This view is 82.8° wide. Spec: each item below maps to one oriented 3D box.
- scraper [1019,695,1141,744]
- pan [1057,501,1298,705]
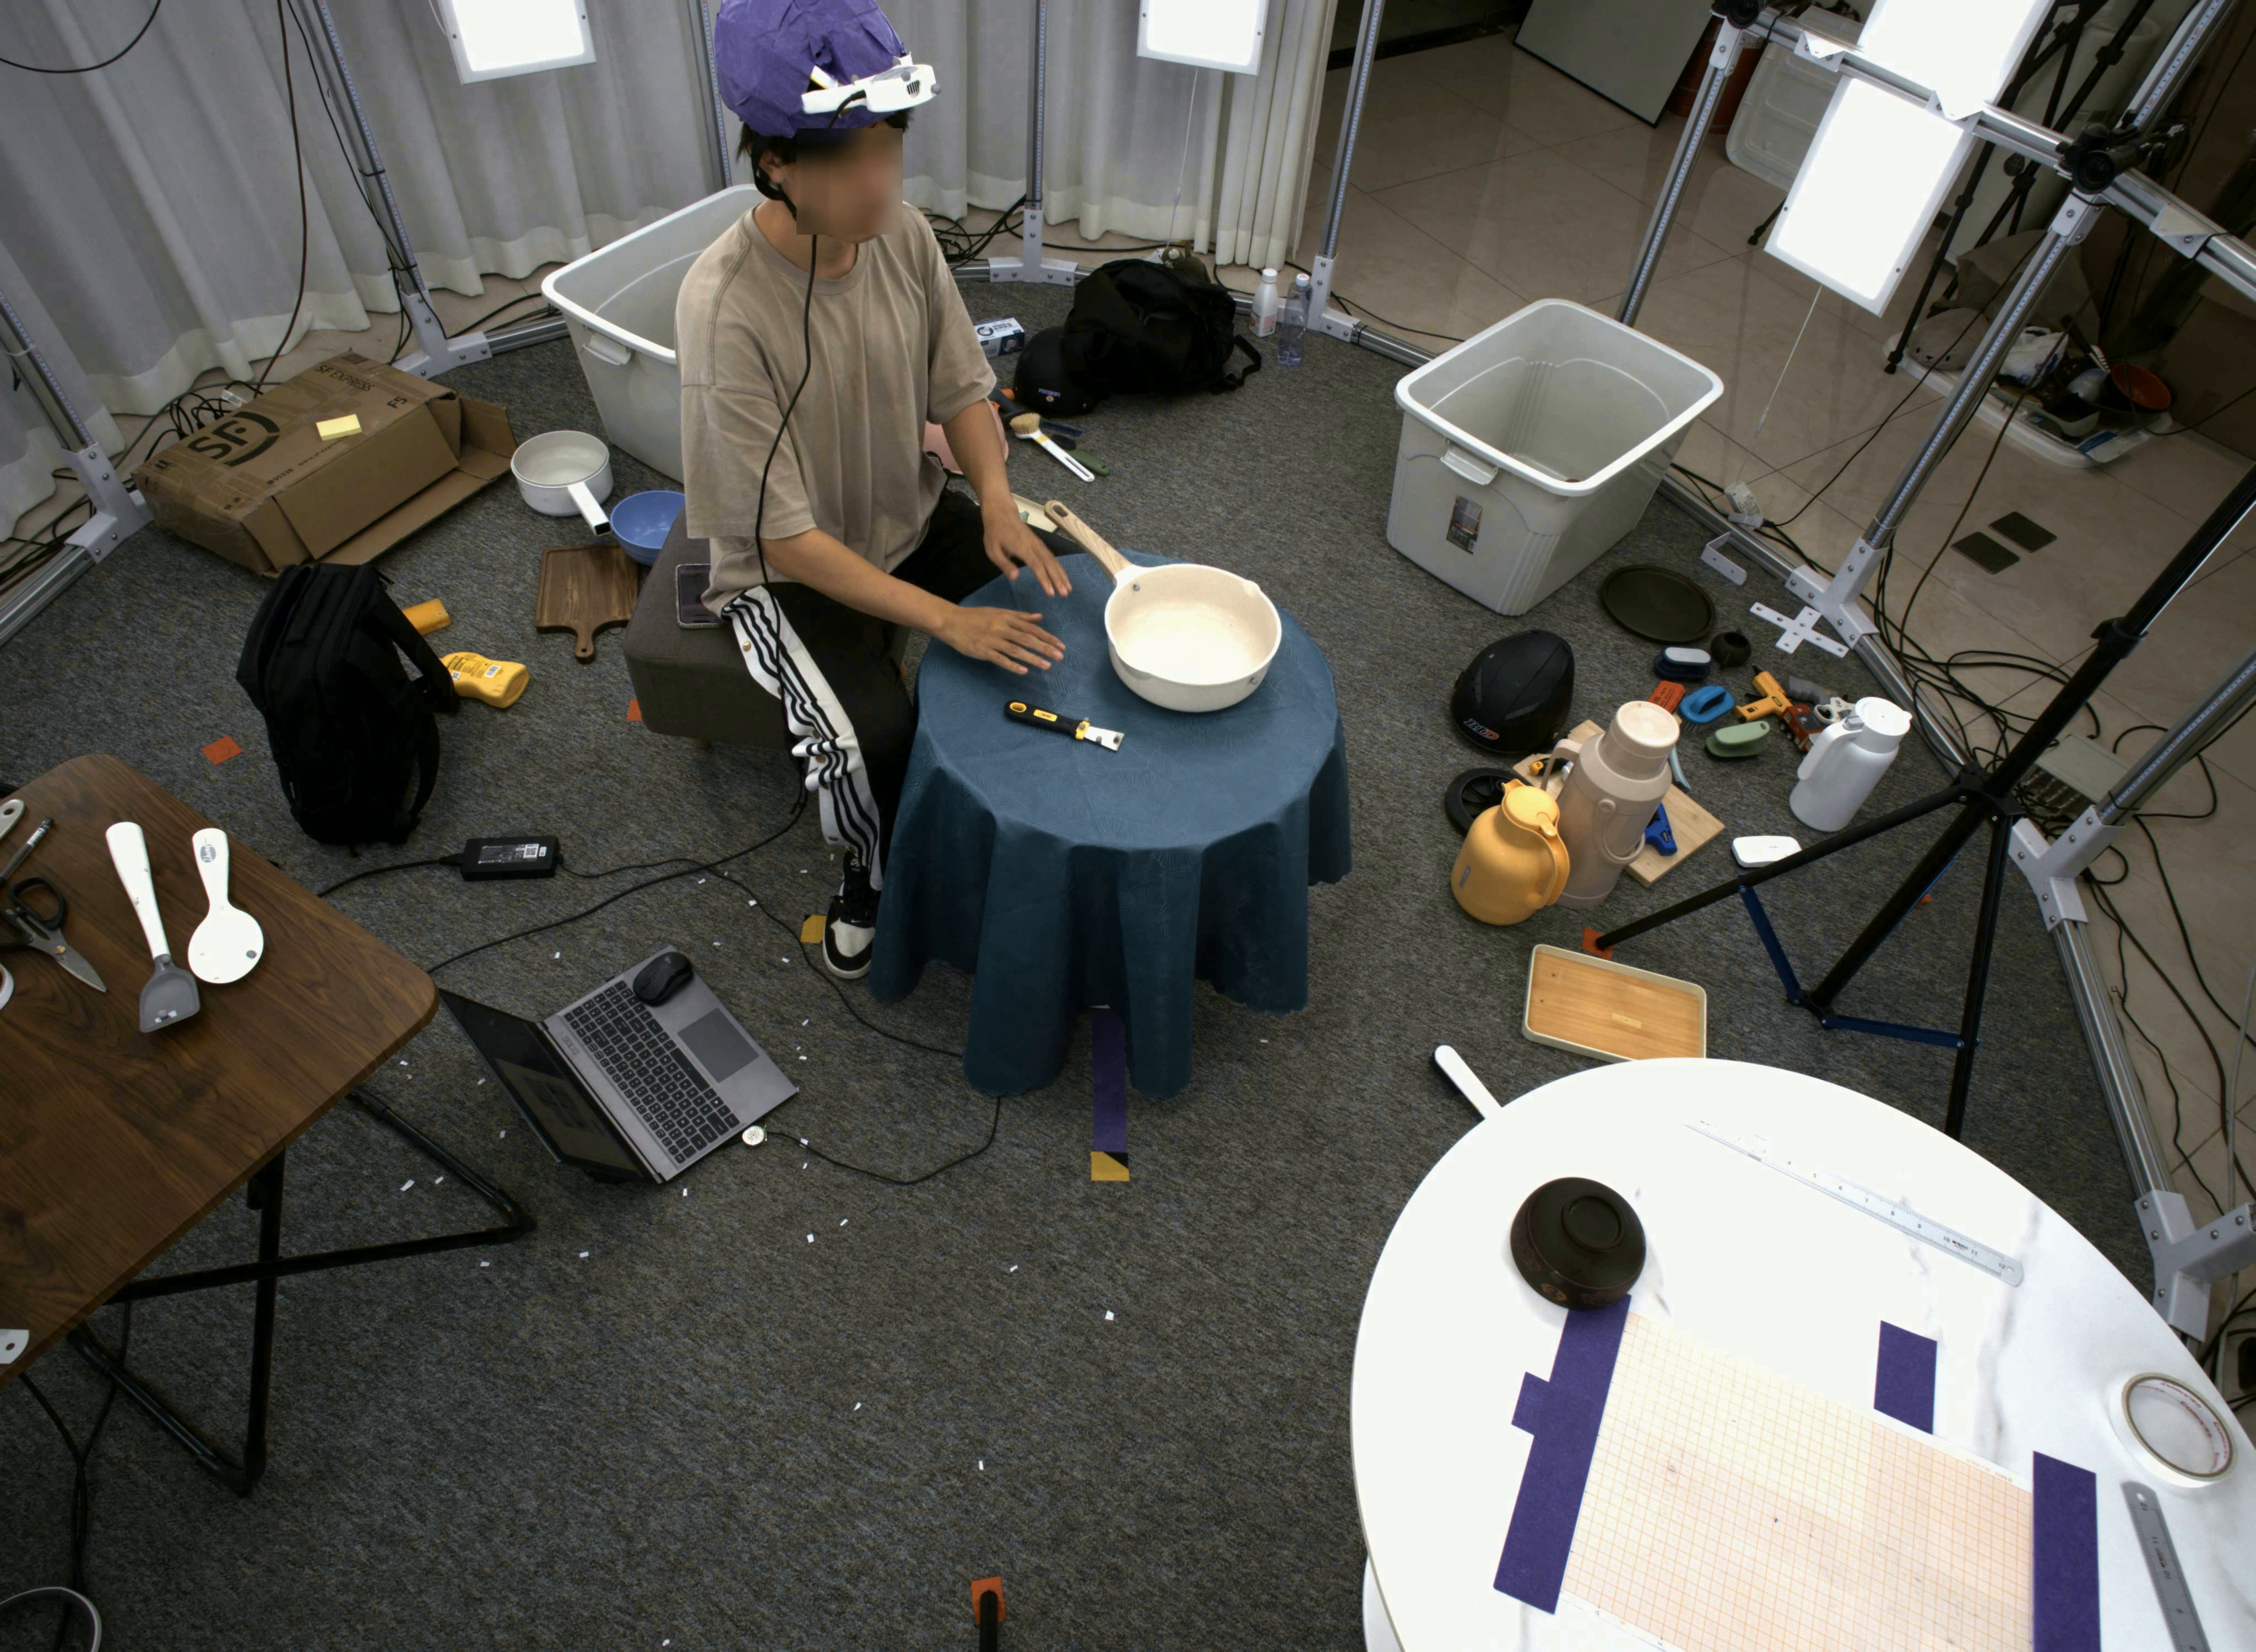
[{"bbox_3d":[-0.068,-0.149,1.765,0.171,0.014,0.039,16,53,6],"label":"scraper"},{"bbox_3d":[0.051,-0.334,1.889,0.265,0.099,0.441,-35,60,-28],"label":"pan"}]
